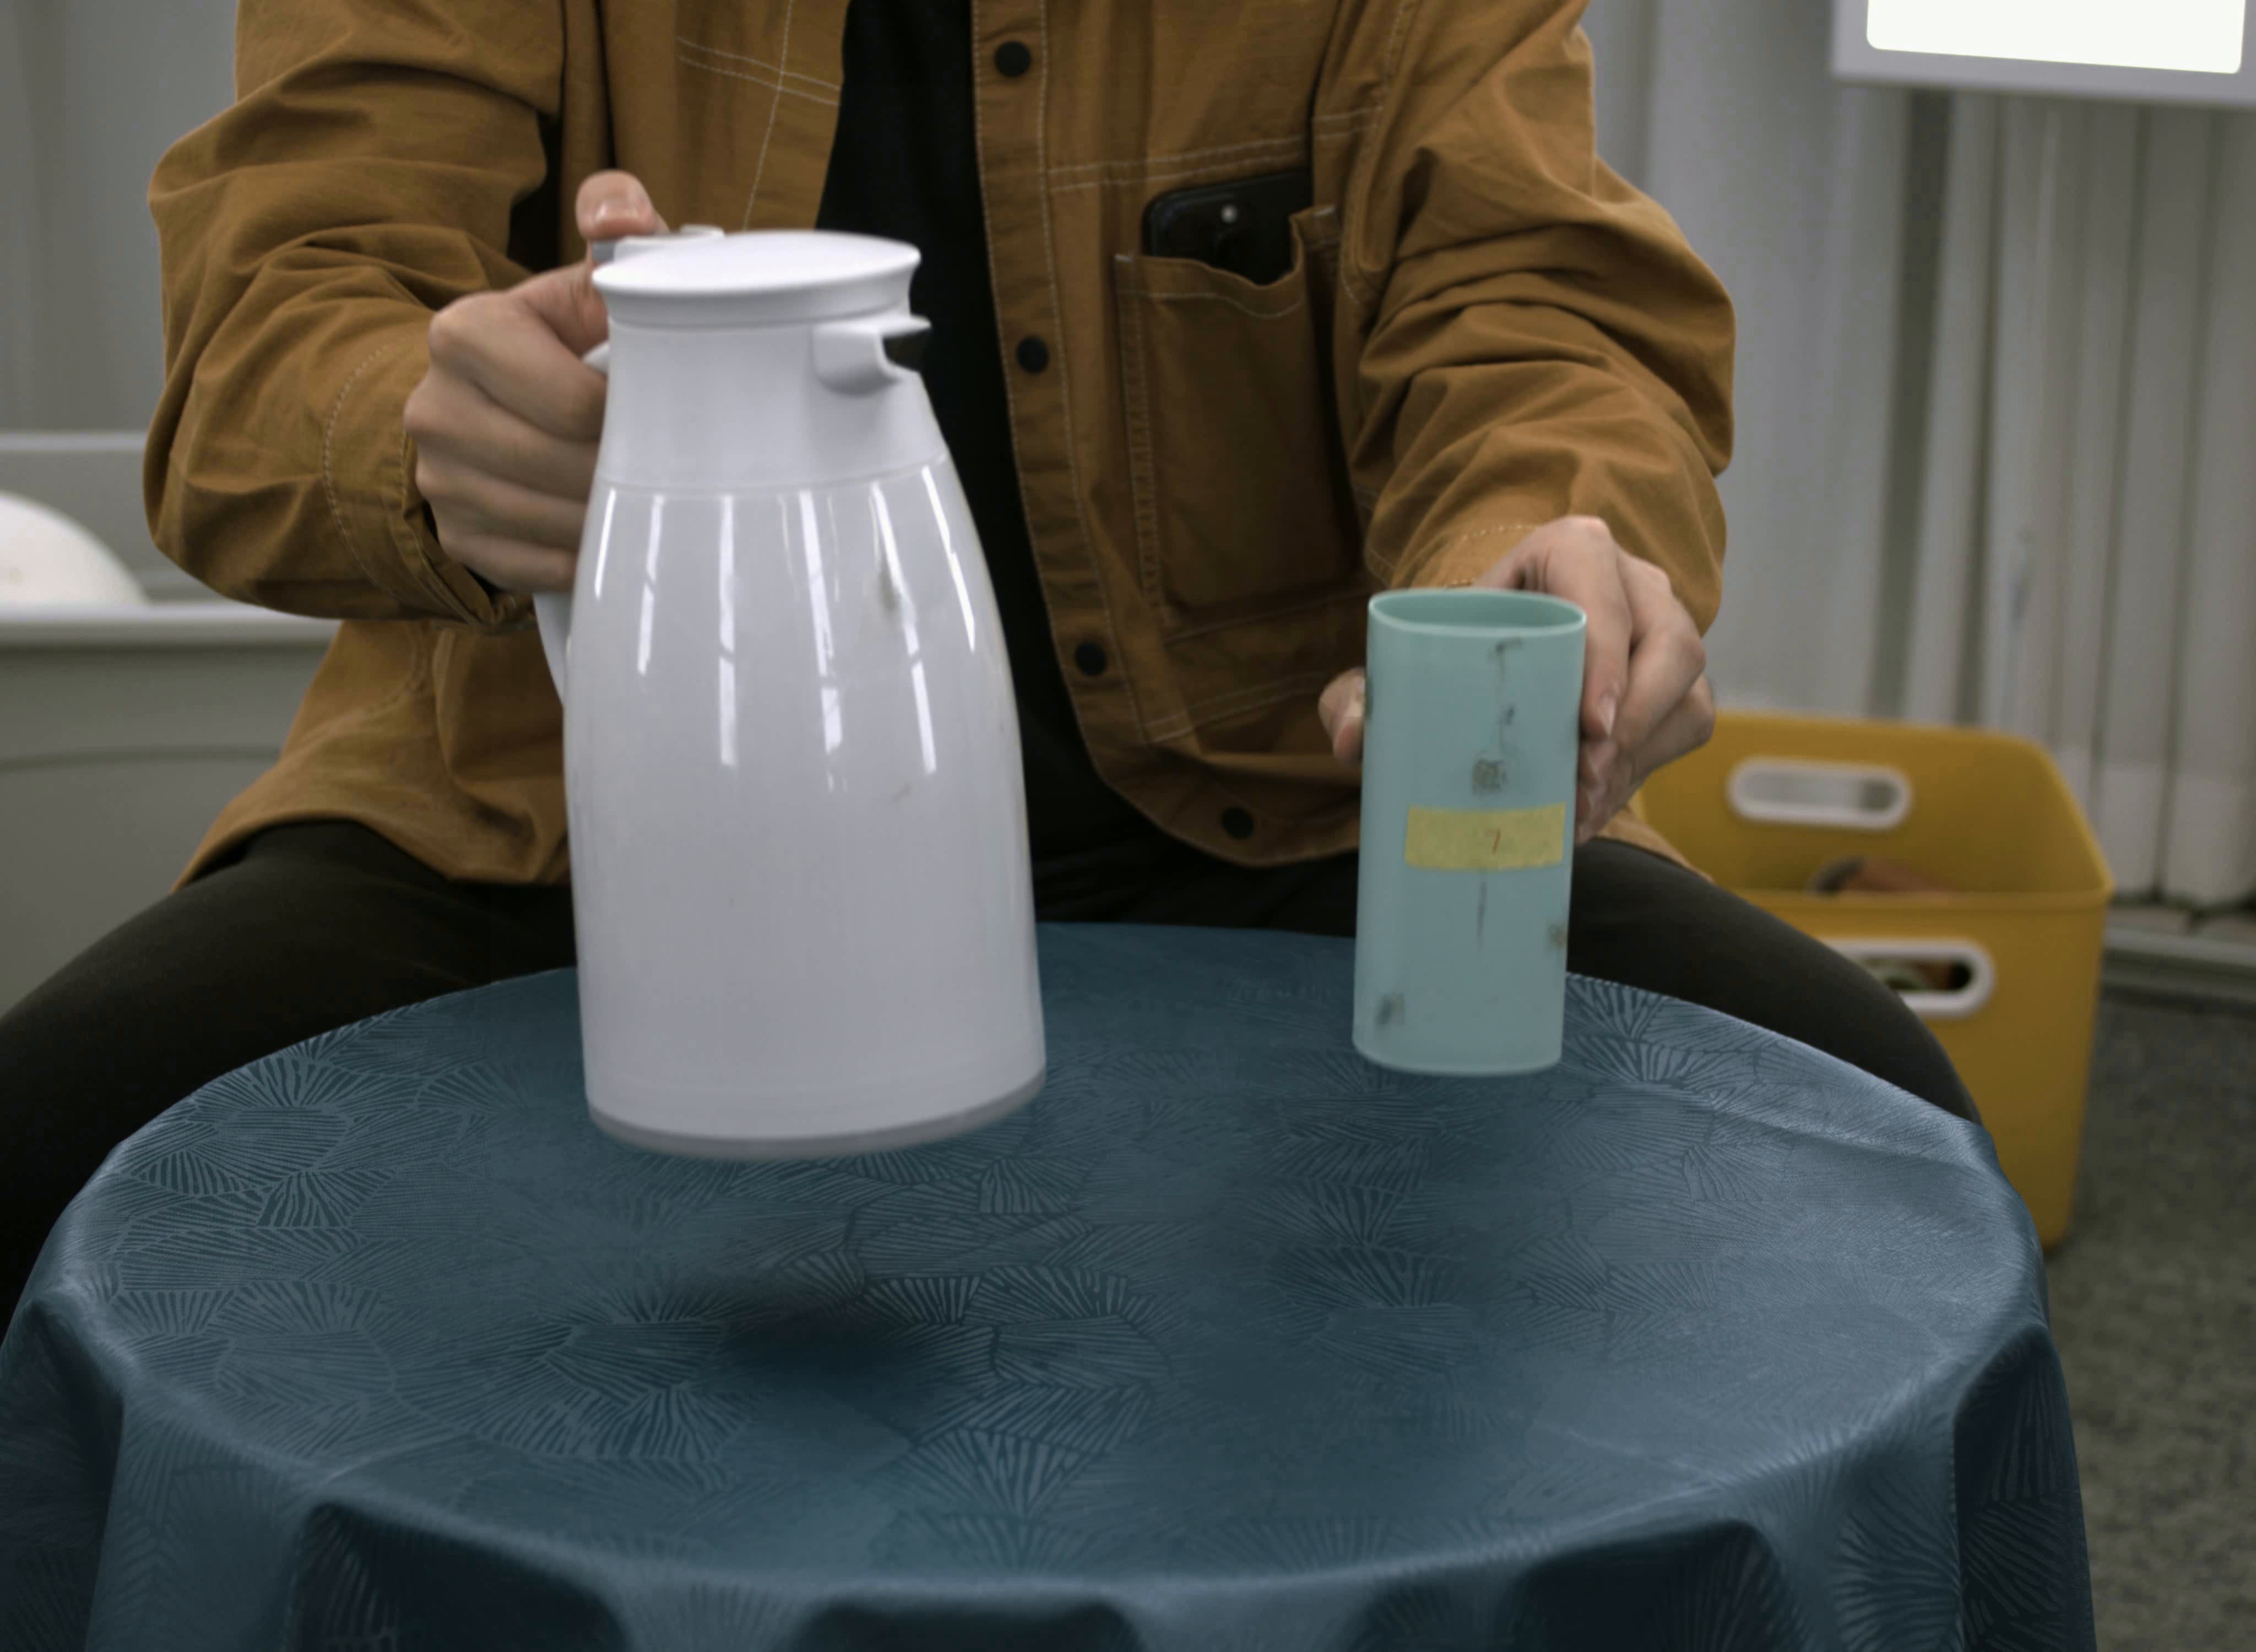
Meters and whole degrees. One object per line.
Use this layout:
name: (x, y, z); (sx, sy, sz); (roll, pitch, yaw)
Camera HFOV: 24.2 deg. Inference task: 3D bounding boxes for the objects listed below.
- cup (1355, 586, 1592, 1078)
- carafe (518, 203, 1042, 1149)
cup: (0.099, 0.000, 1.520); (0.066, 0.133, 0.066); (2, 14, 0)
carafe: (-0.111, -0.049, 1.481); (0.165, 0.250, 0.133); (10, 20, 44)
